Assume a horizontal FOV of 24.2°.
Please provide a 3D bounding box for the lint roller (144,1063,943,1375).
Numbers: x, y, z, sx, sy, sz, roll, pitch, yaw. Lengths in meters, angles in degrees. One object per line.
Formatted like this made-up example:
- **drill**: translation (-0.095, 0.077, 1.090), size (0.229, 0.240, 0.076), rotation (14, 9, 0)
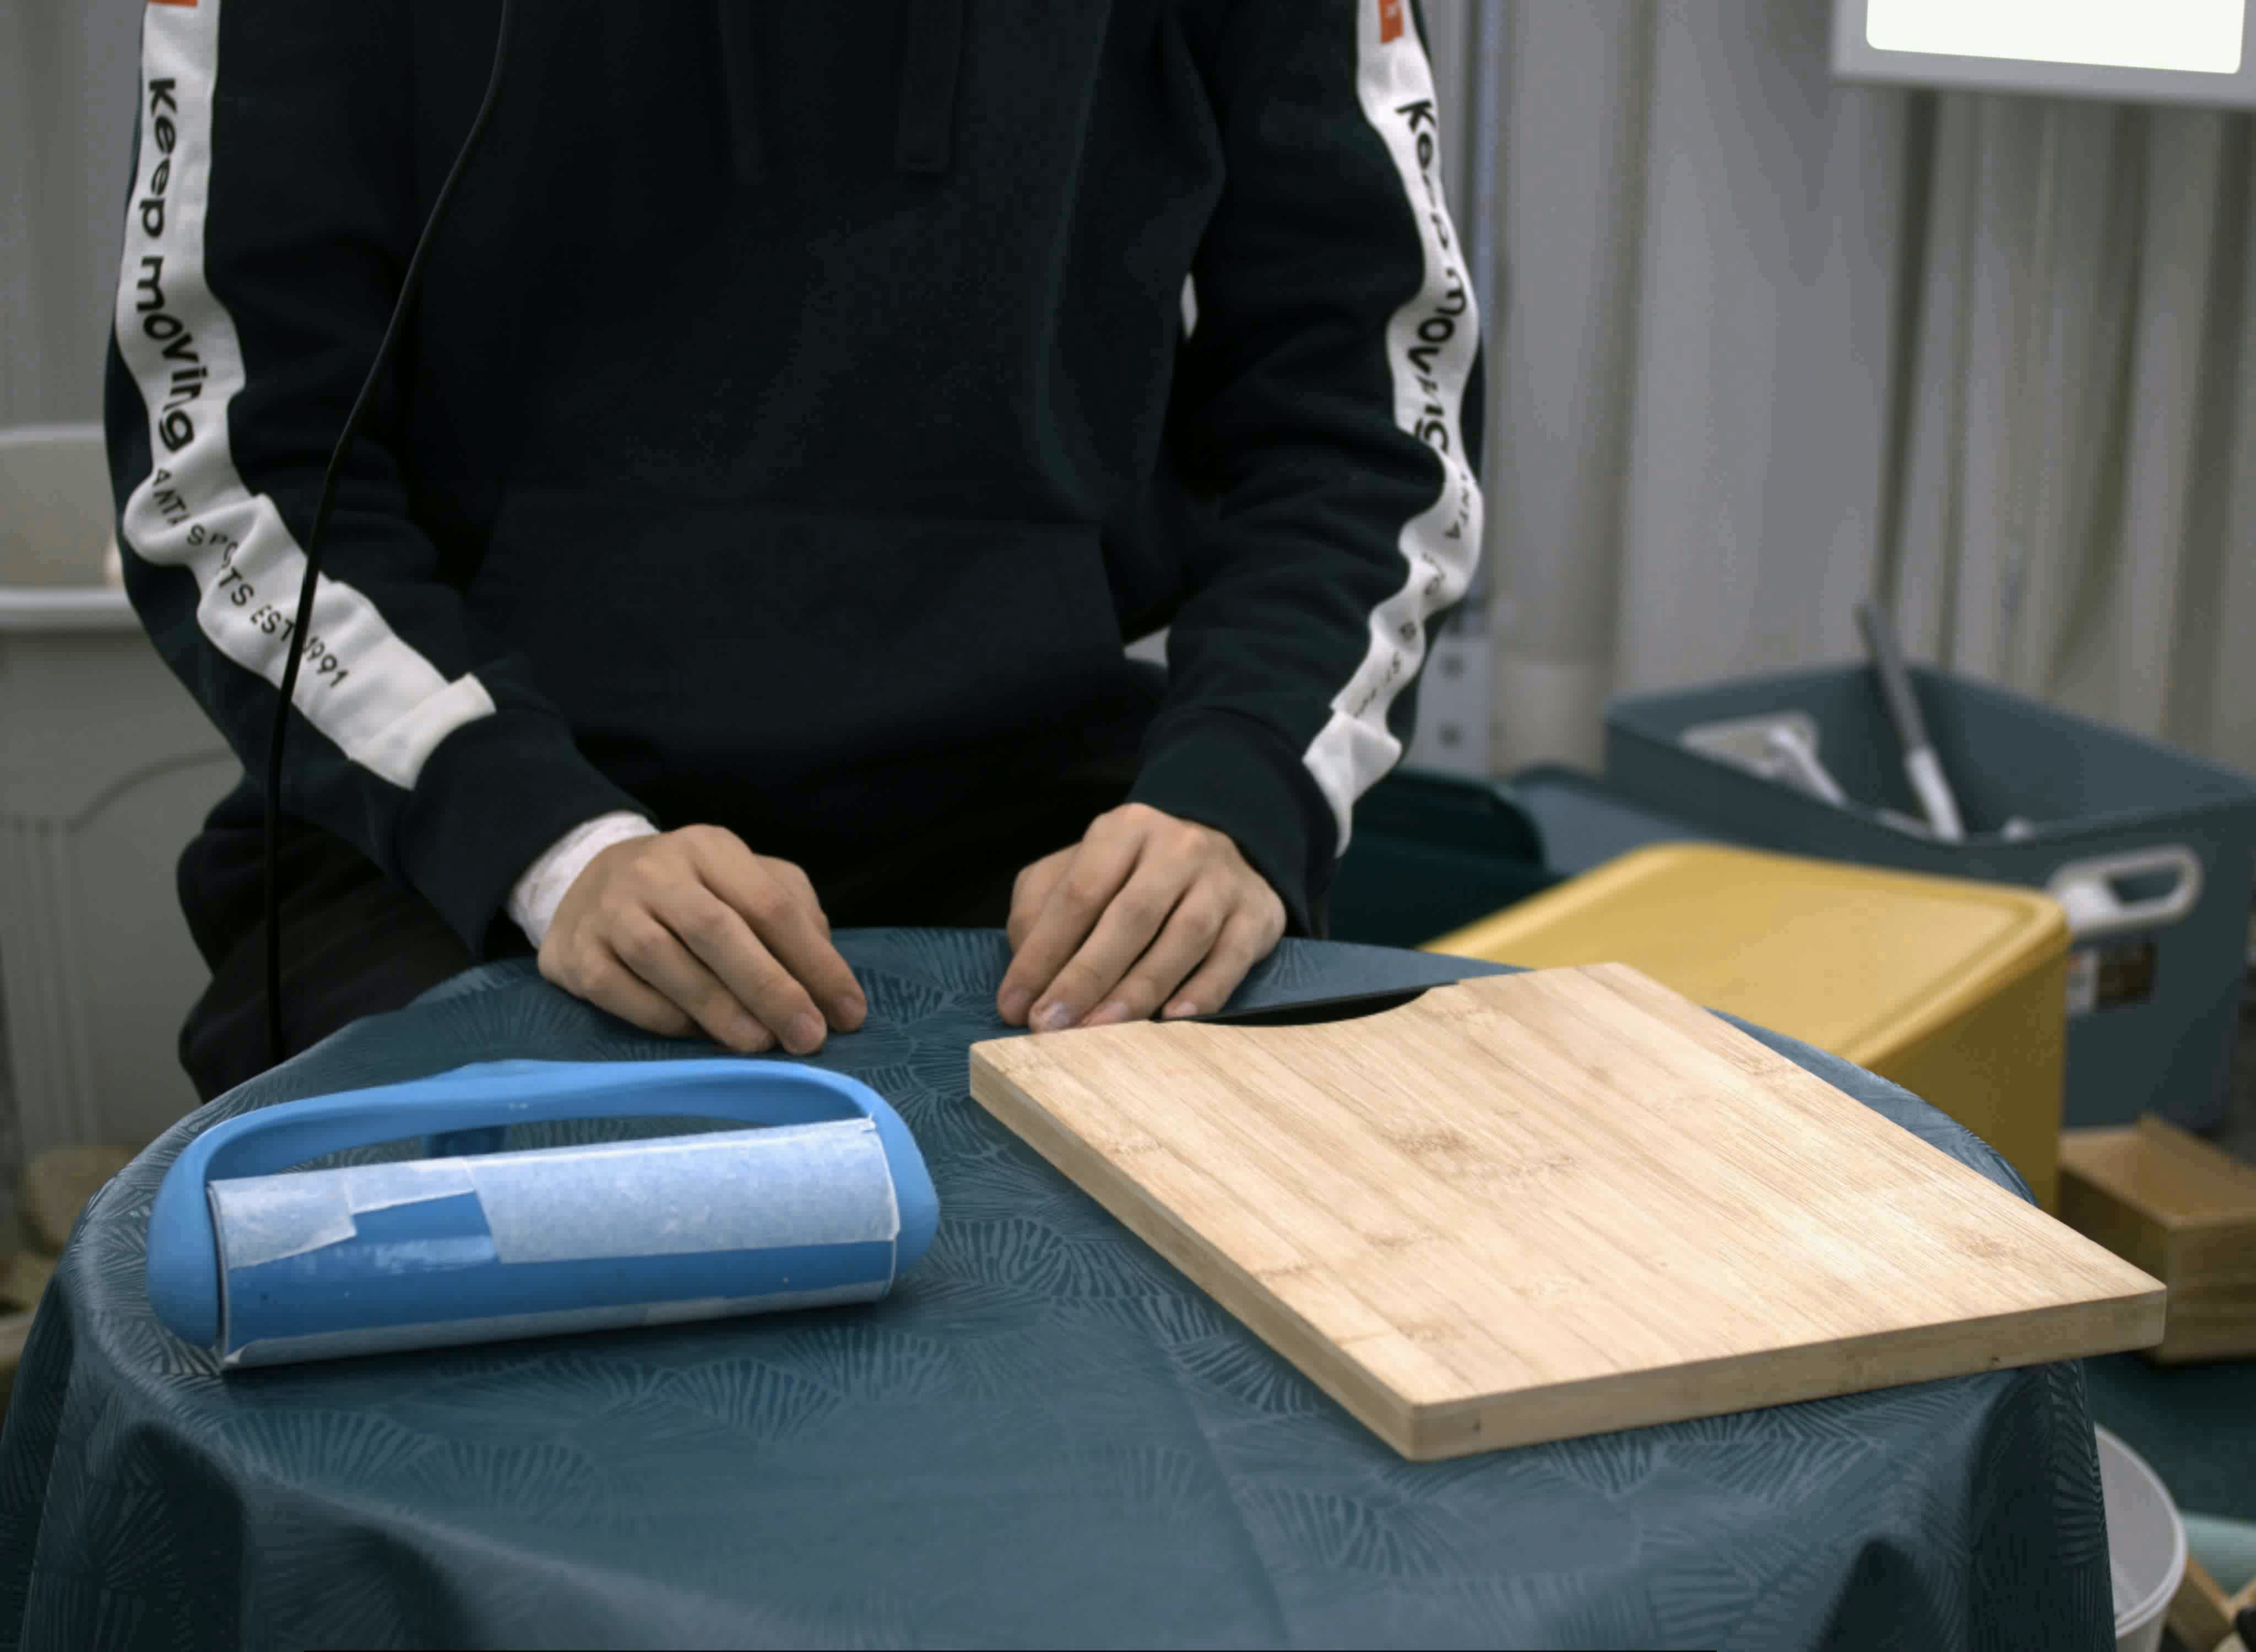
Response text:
- **lint roller**: translation (-0.183, 0.102, 1.544), size (0.229, 0.068, 0.178), rotation (-7, 17, -19)

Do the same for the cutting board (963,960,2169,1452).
- **cutting board**: translation (0.121, 0.109, 1.606), size (0.251, 0.024, 0.344), rotation (-6, 17, -23)
